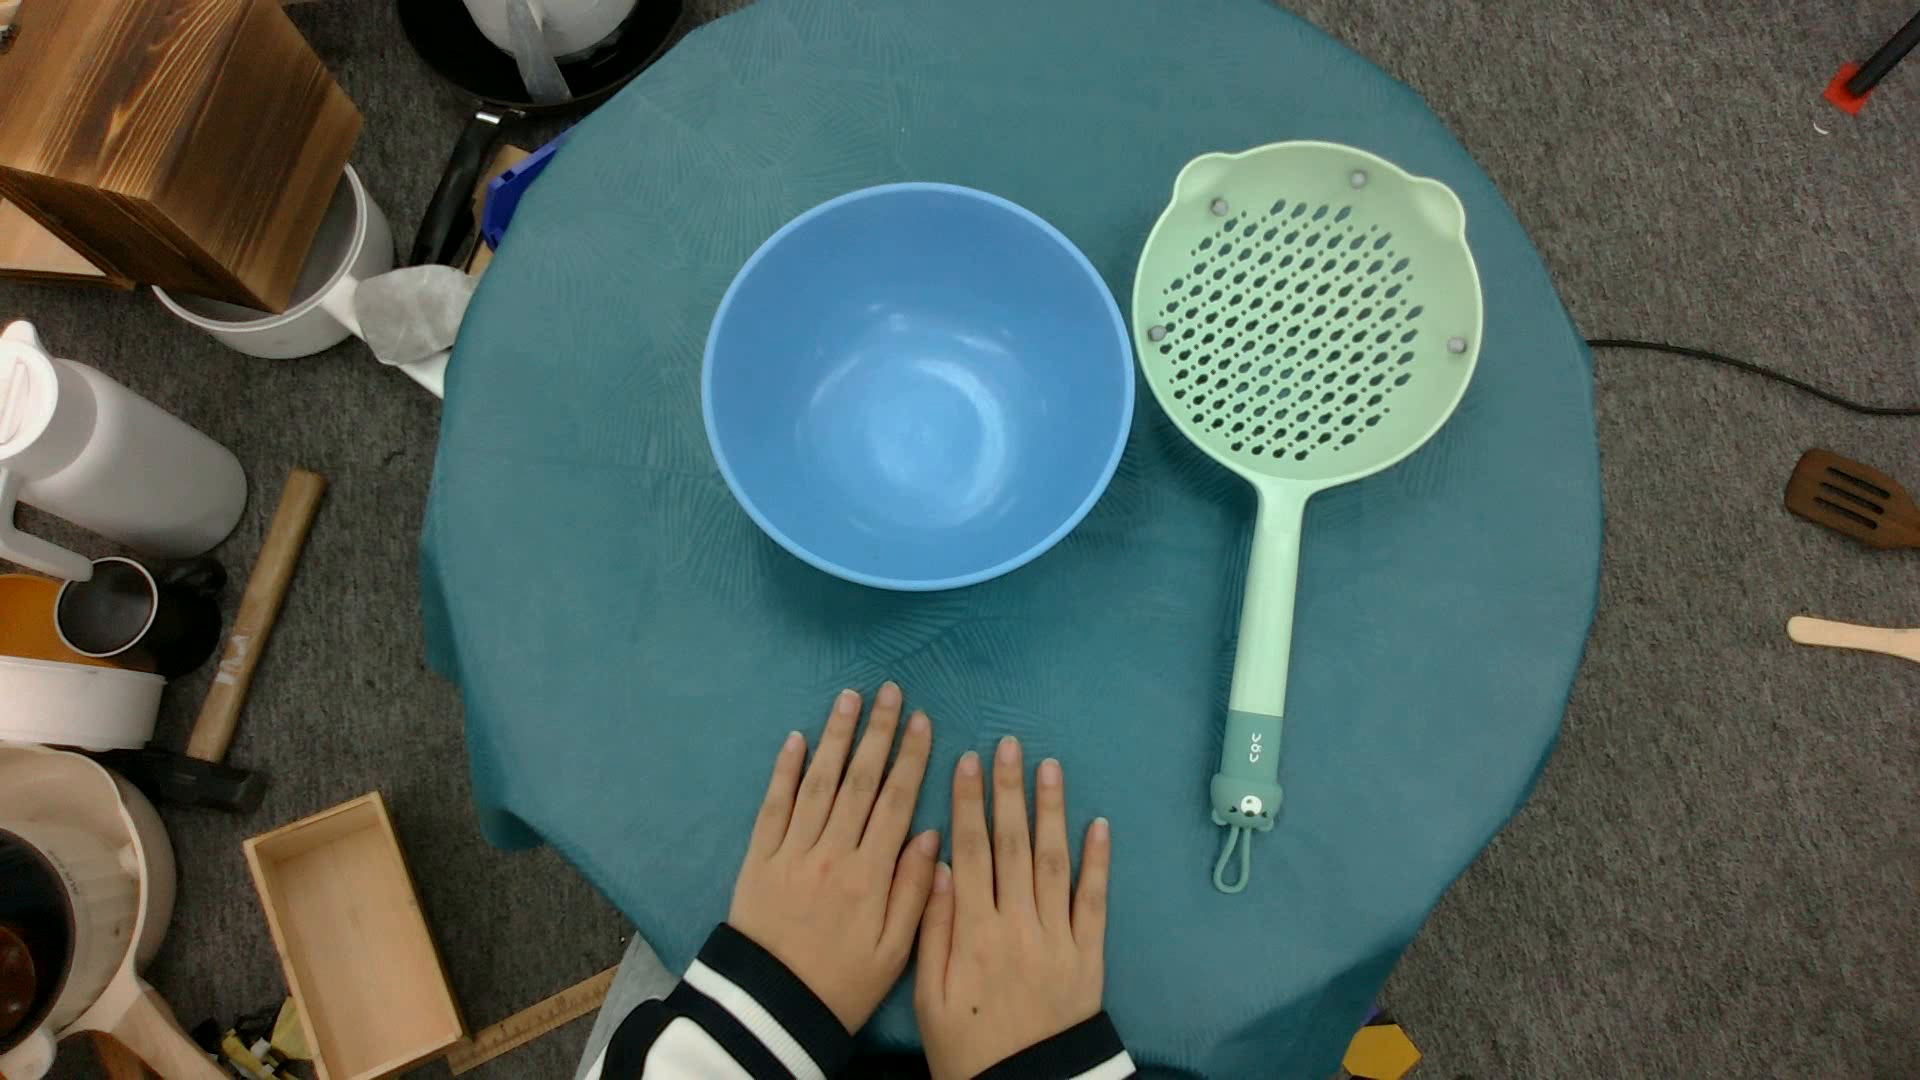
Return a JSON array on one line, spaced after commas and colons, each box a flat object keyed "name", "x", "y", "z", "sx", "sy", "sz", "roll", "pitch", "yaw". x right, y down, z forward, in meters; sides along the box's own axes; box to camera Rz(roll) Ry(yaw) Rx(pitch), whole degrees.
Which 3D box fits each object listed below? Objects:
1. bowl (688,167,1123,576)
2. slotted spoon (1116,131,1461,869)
[{"name": "bowl", "x": -0.025, "y": -0.069, "z": 0.665, "sx": 0.196, "sy": 0.095, "sz": 0.197, "roll": 0, "pitch": 75, "yaw": -2}, {"name": "slotted spoon", "x": 0.147, "y": -0.021, "z": 0.676, "sx": 0.169, "sy": 0.075, "sz": 0.359, "roll": 8, "pitch": 77, "yaw": 2}]
